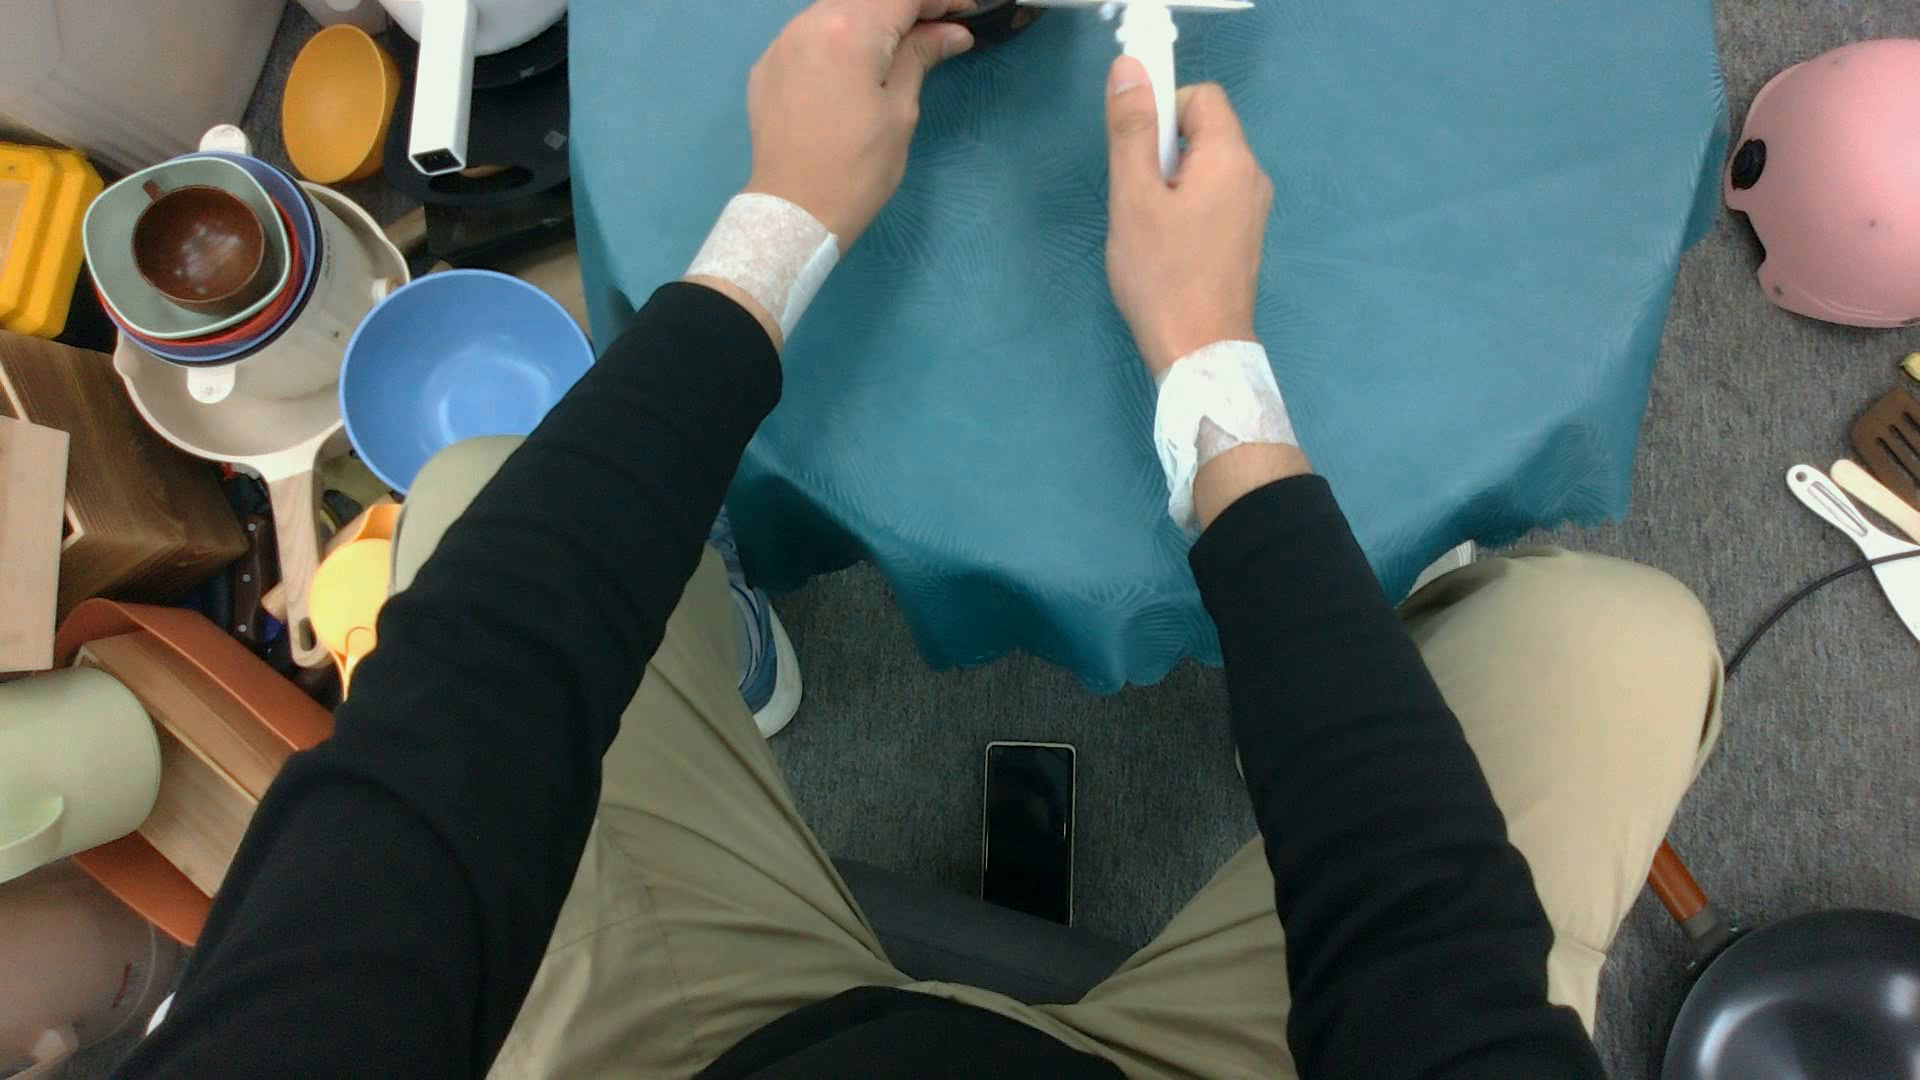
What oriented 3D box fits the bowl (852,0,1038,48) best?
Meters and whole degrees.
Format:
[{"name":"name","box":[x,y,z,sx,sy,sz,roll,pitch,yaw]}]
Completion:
[{"name":"bowl","box":[-0.006,-0.303,0.693,0.118,0.070,0.118,-1,83,5]}]

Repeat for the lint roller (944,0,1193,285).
[{"name":"lint roller","box":[0.077,-0.212,0.622,0.175,0.051,0.192,-26,95,-38]}]
